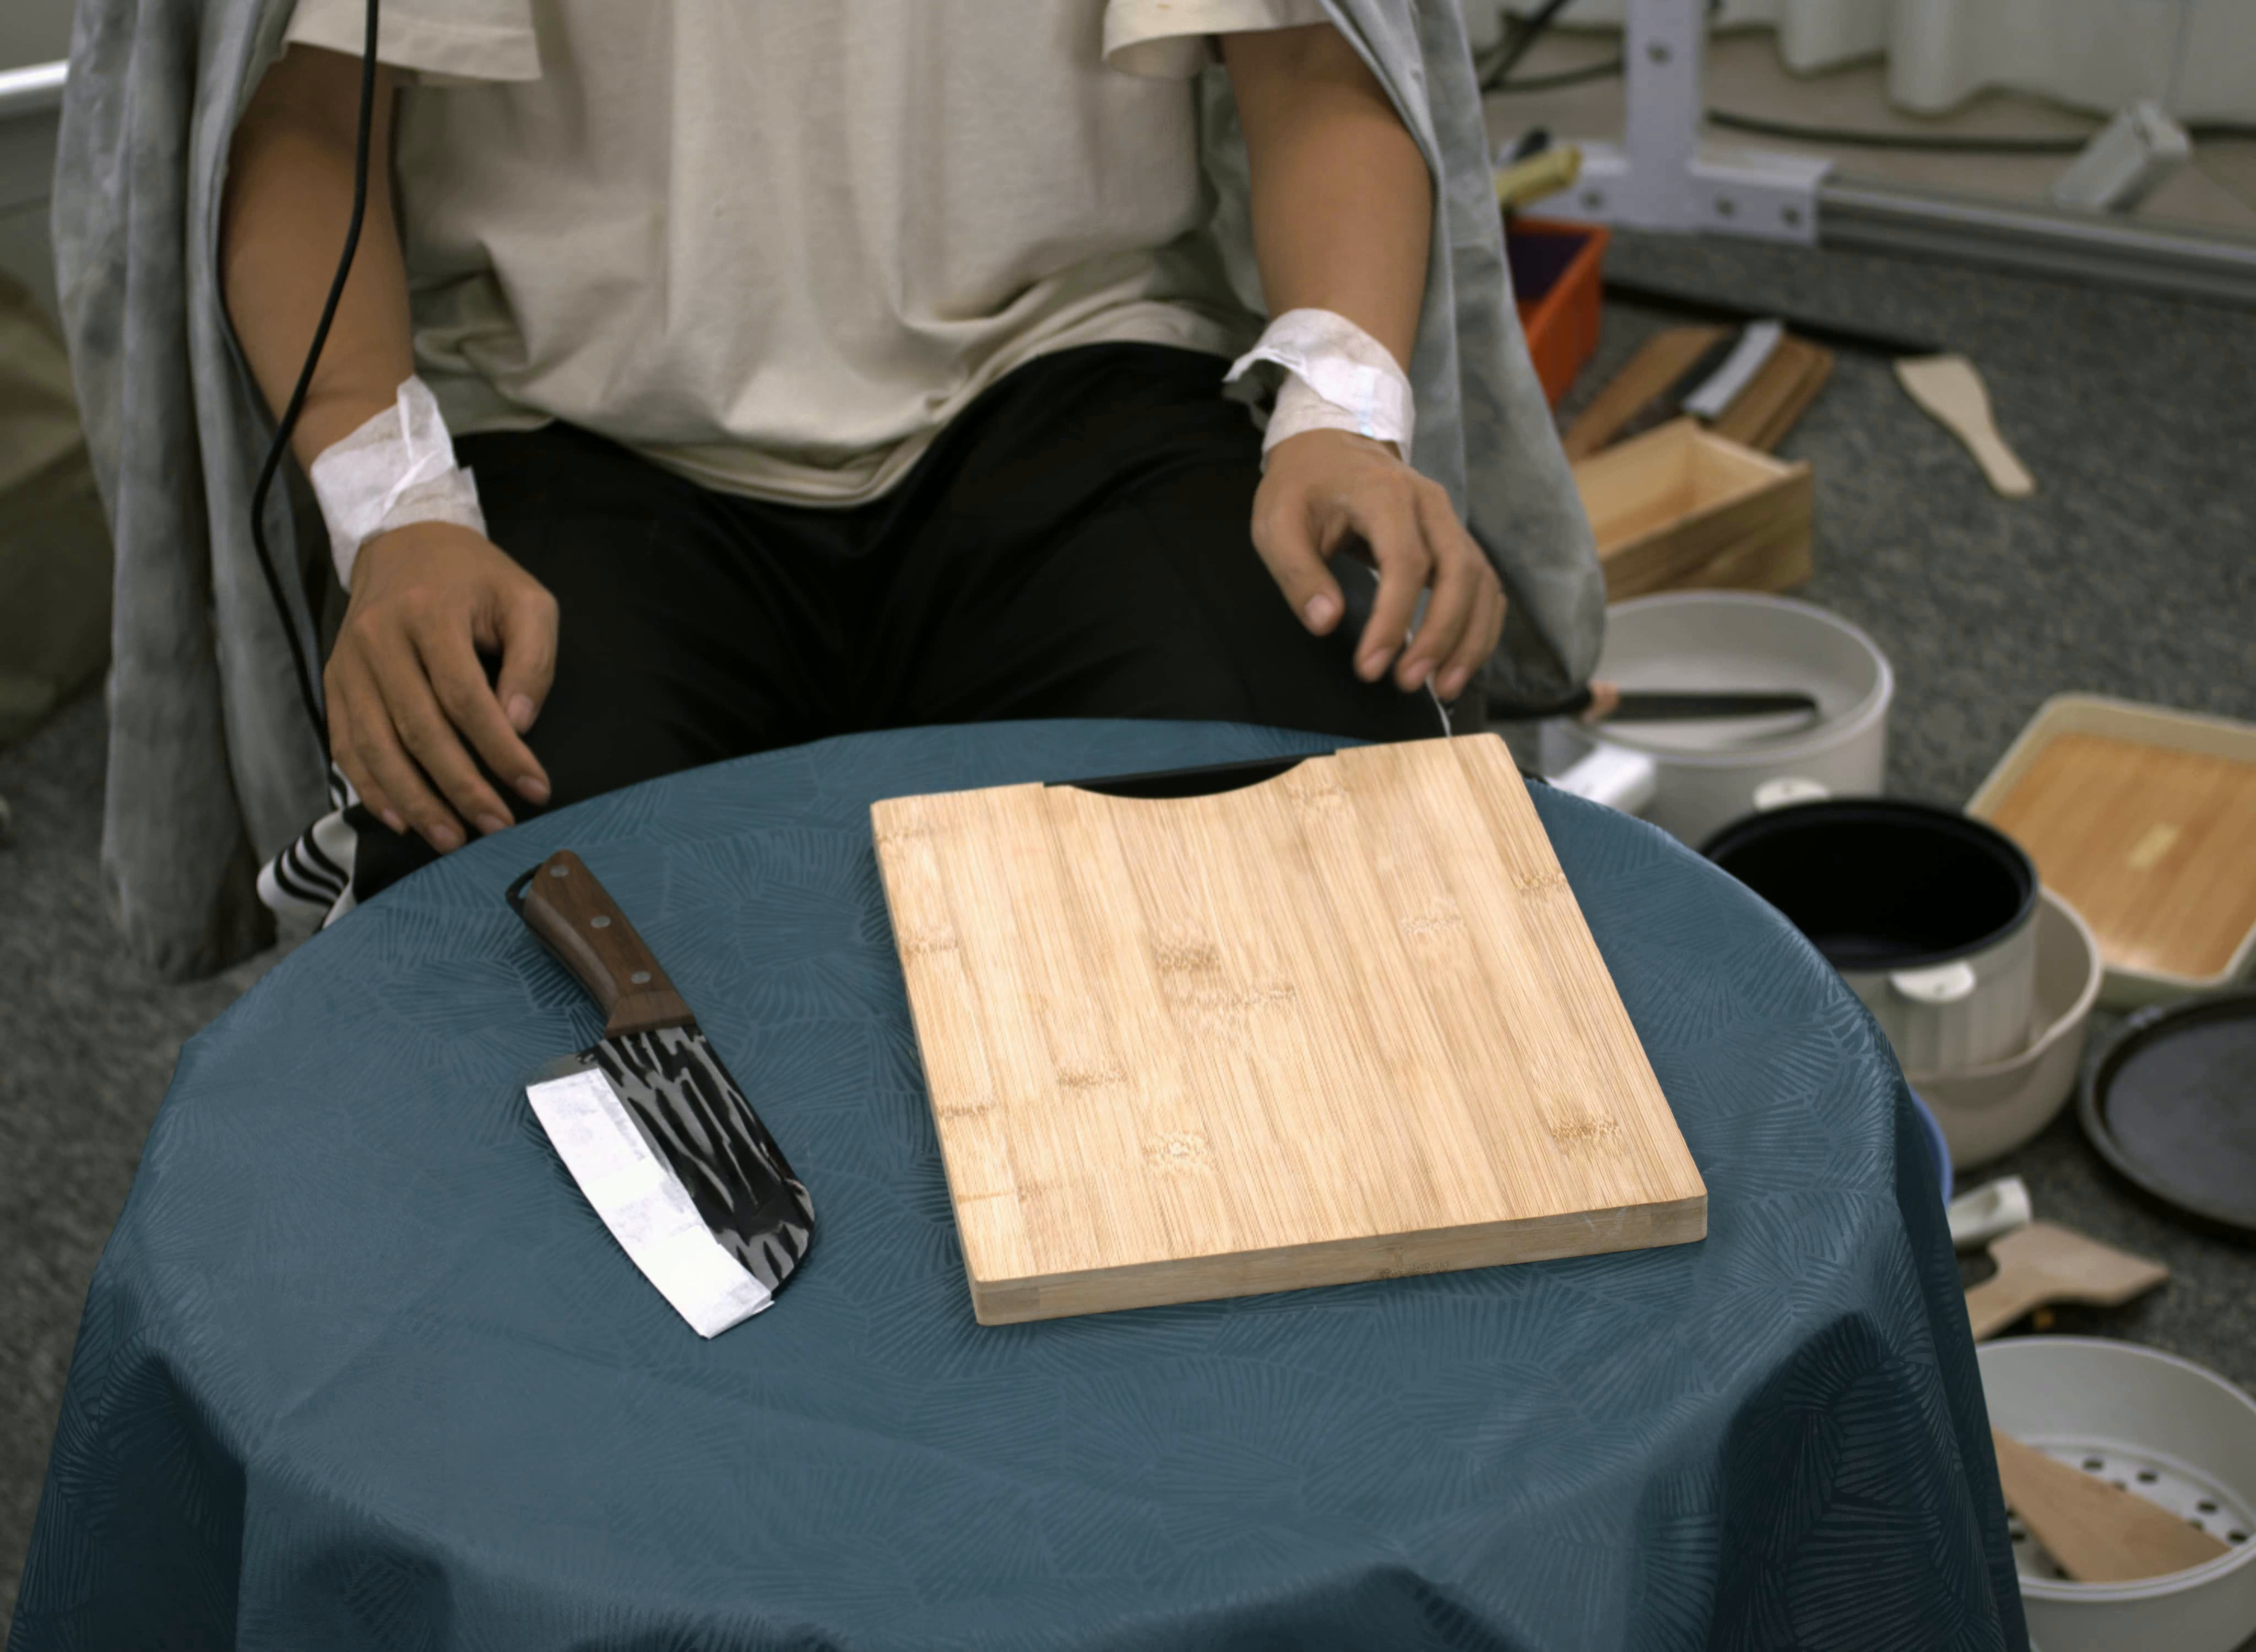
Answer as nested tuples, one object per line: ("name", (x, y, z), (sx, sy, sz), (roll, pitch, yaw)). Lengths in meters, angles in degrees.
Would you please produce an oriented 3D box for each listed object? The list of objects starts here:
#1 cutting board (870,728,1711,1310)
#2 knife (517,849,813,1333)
("cutting board", (0.046, 0.061, 1.955), (0.250, 0.023, 0.353), (-6, 27, -7))
("knife", (-0.170, 0.089, 1.920), (0.068, 0.023, 0.302), (-14, 32, -17))
